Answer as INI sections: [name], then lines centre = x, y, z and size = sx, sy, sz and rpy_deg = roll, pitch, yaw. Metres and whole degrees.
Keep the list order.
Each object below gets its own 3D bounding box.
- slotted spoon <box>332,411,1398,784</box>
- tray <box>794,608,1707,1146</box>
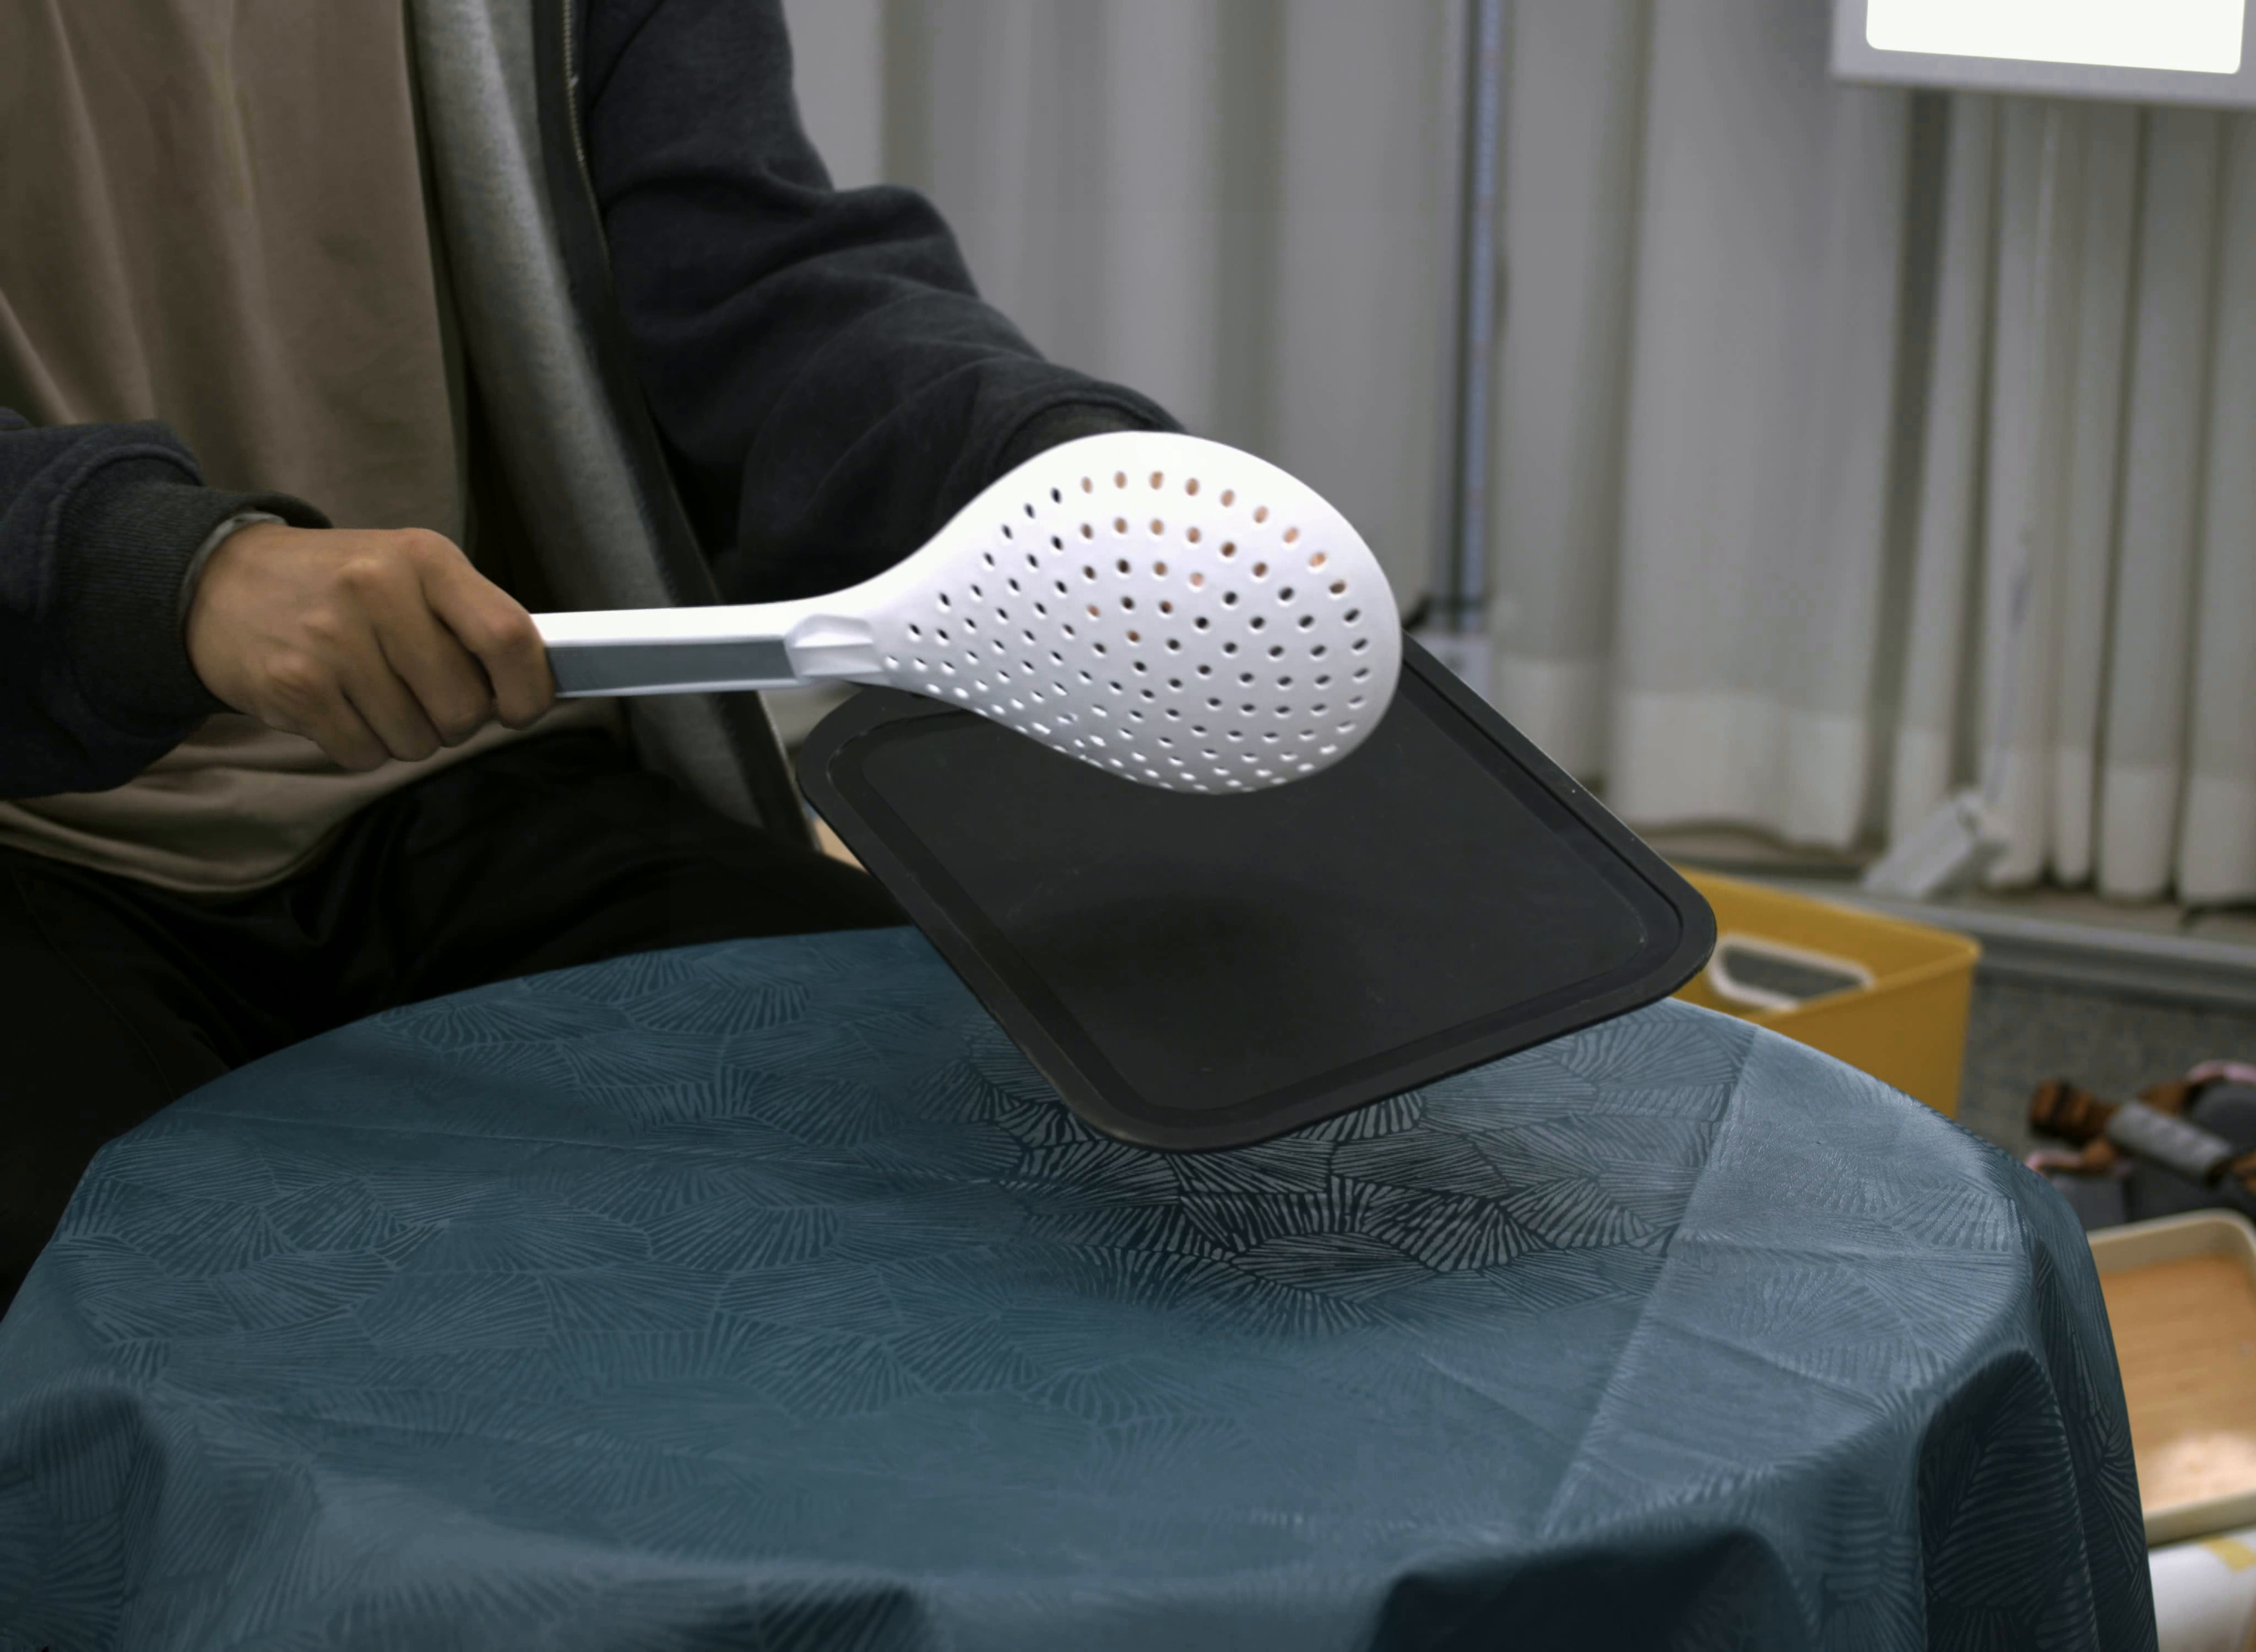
[slotted spoon]
centre = -0.087, -0.060, 1.612
size = 0.346, 0.138, 0.045
rpy_deg = 1, 39, 24
[tray]
centre = 0.028, 0.000, 1.656
size = 0.211, 0.010, 0.321
rpy_deg = -18, 33, -18
